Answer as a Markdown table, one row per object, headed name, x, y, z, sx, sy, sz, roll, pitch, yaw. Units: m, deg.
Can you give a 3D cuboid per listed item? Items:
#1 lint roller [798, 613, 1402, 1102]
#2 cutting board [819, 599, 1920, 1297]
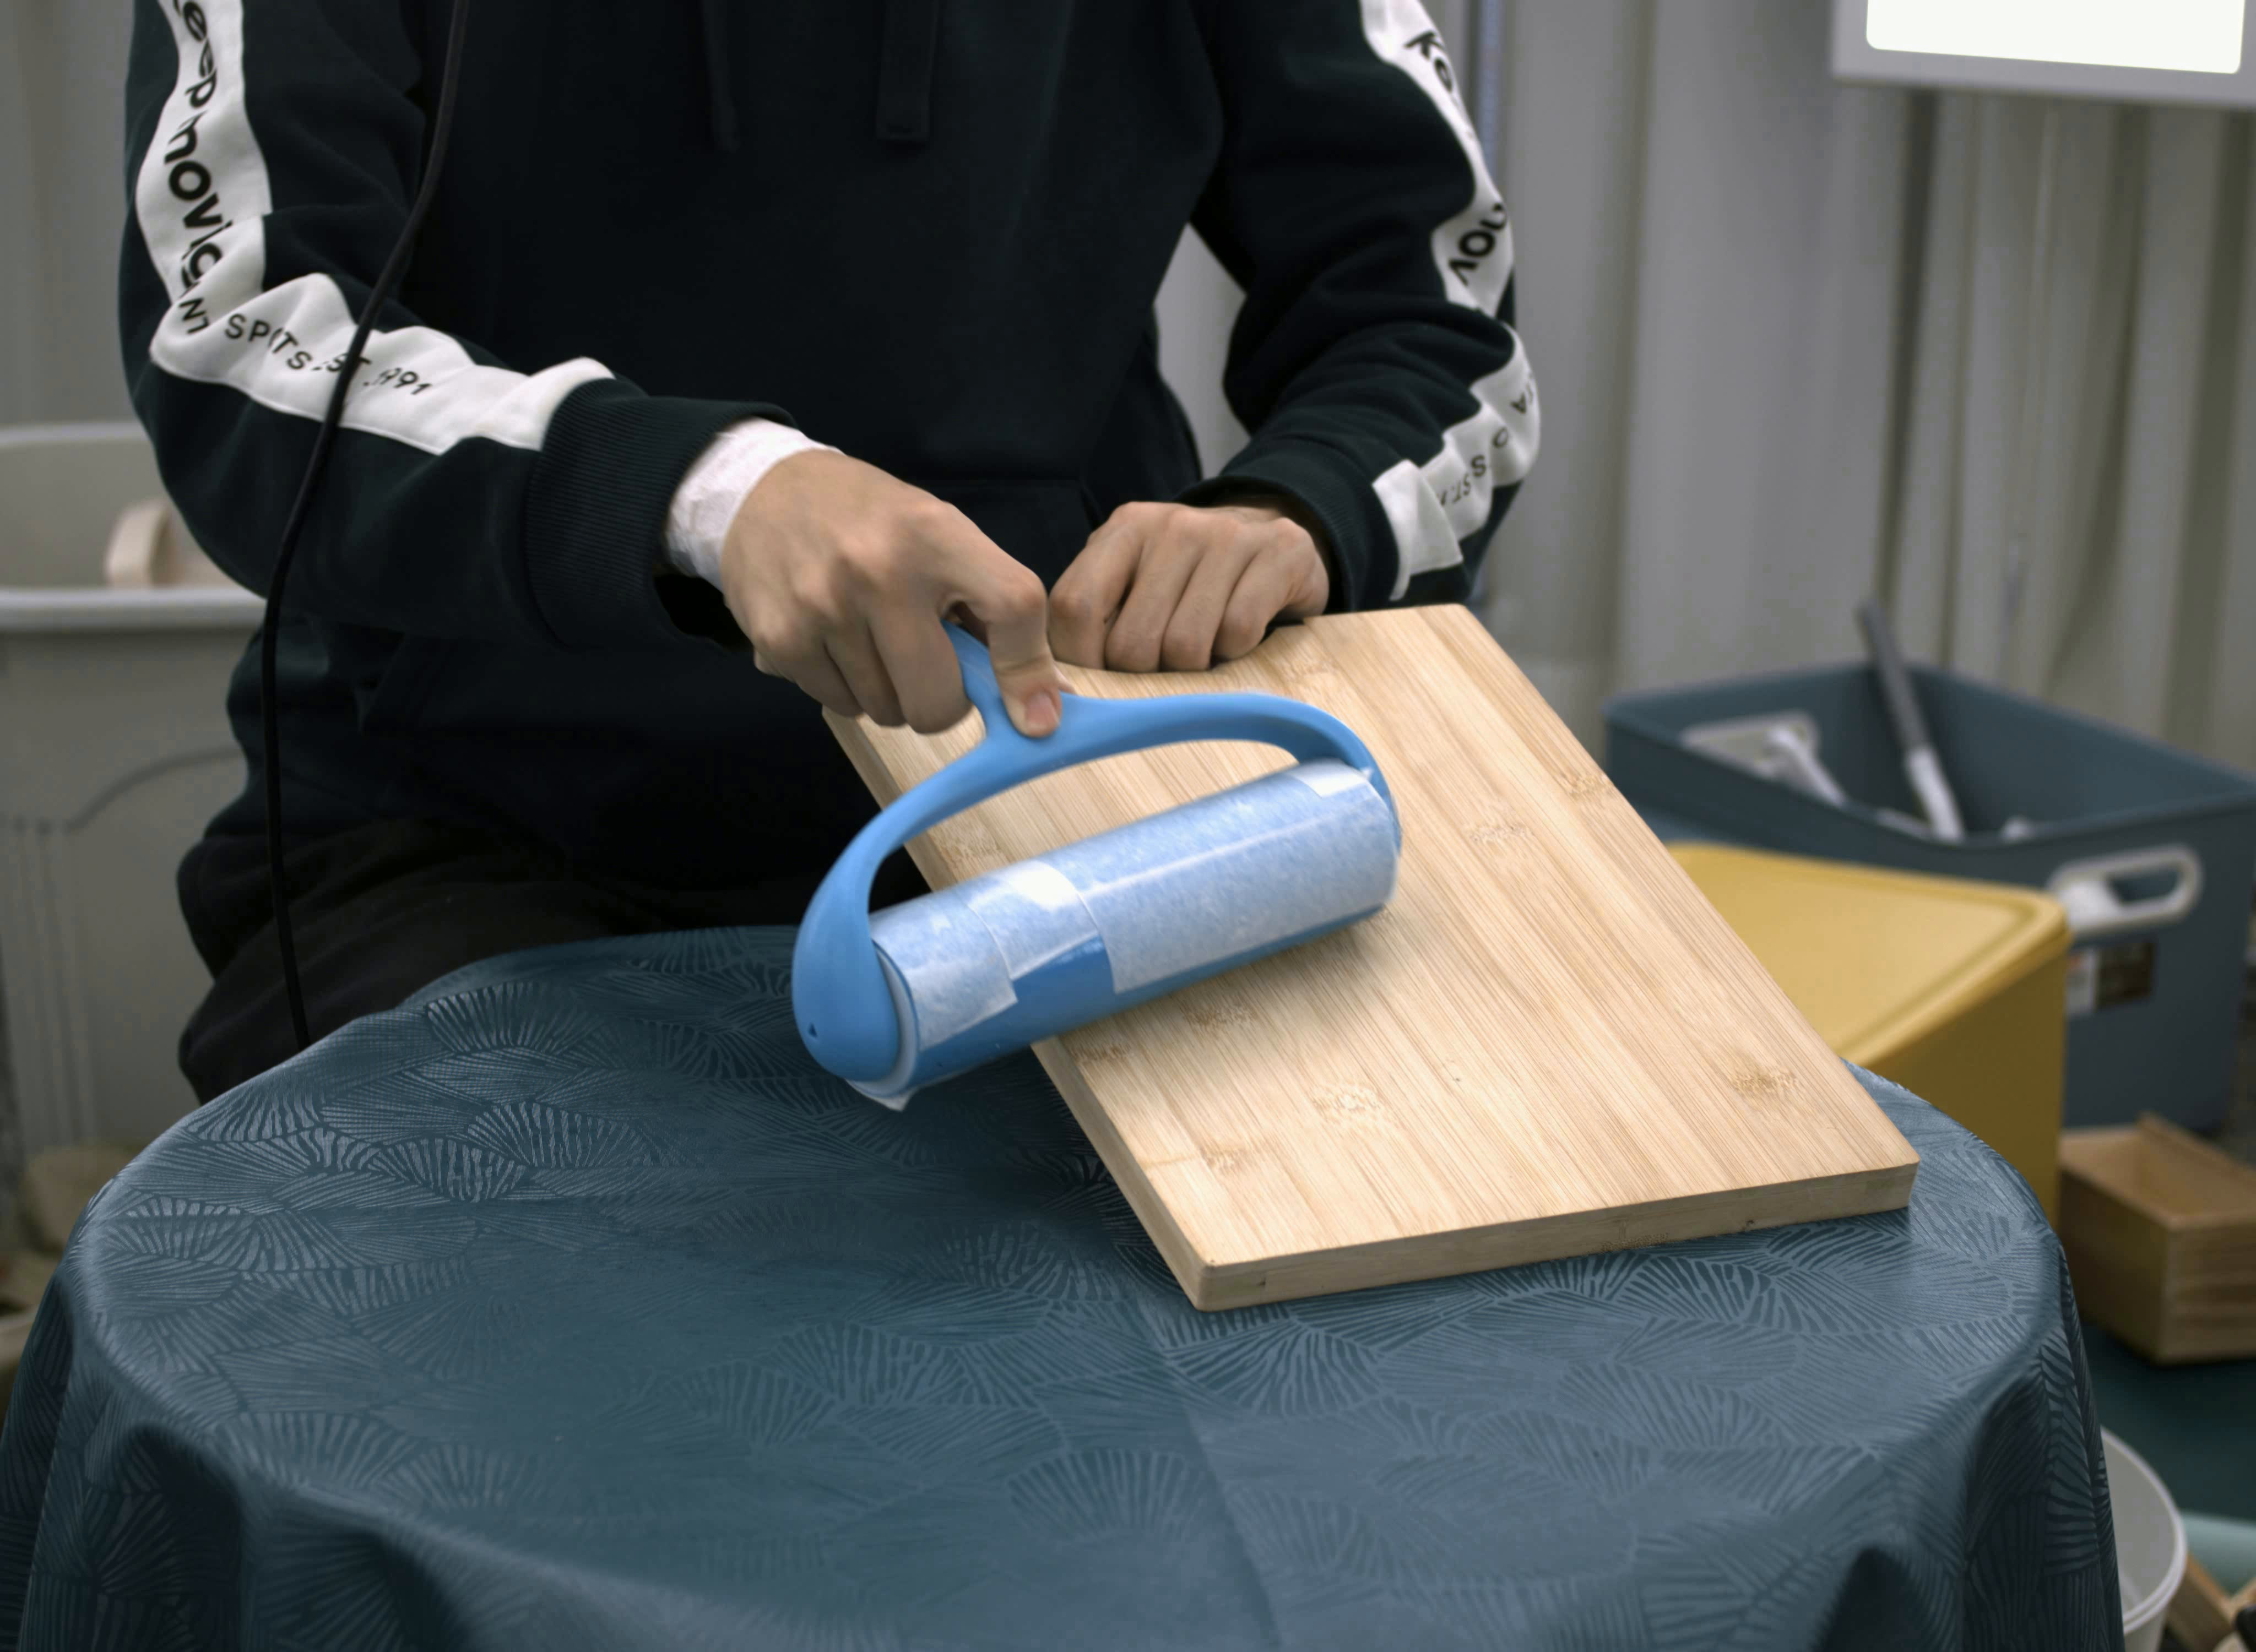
| name | x | y | z | sx | sy | sz | roll | pitch | yaw |
| --- | --- | --- | --- | --- | --- | --- | --- | --- | --- |
| lint roller | -0.040 | -0.014 | 1.626 | 0.229 | 0.068 | 0.179 | -23 | 65 | -37 |
| cutting board | 0.068 | 0.030 | 1.691 | 0.251 | 0.024 | 0.344 | -7 | 35 | -23 |
